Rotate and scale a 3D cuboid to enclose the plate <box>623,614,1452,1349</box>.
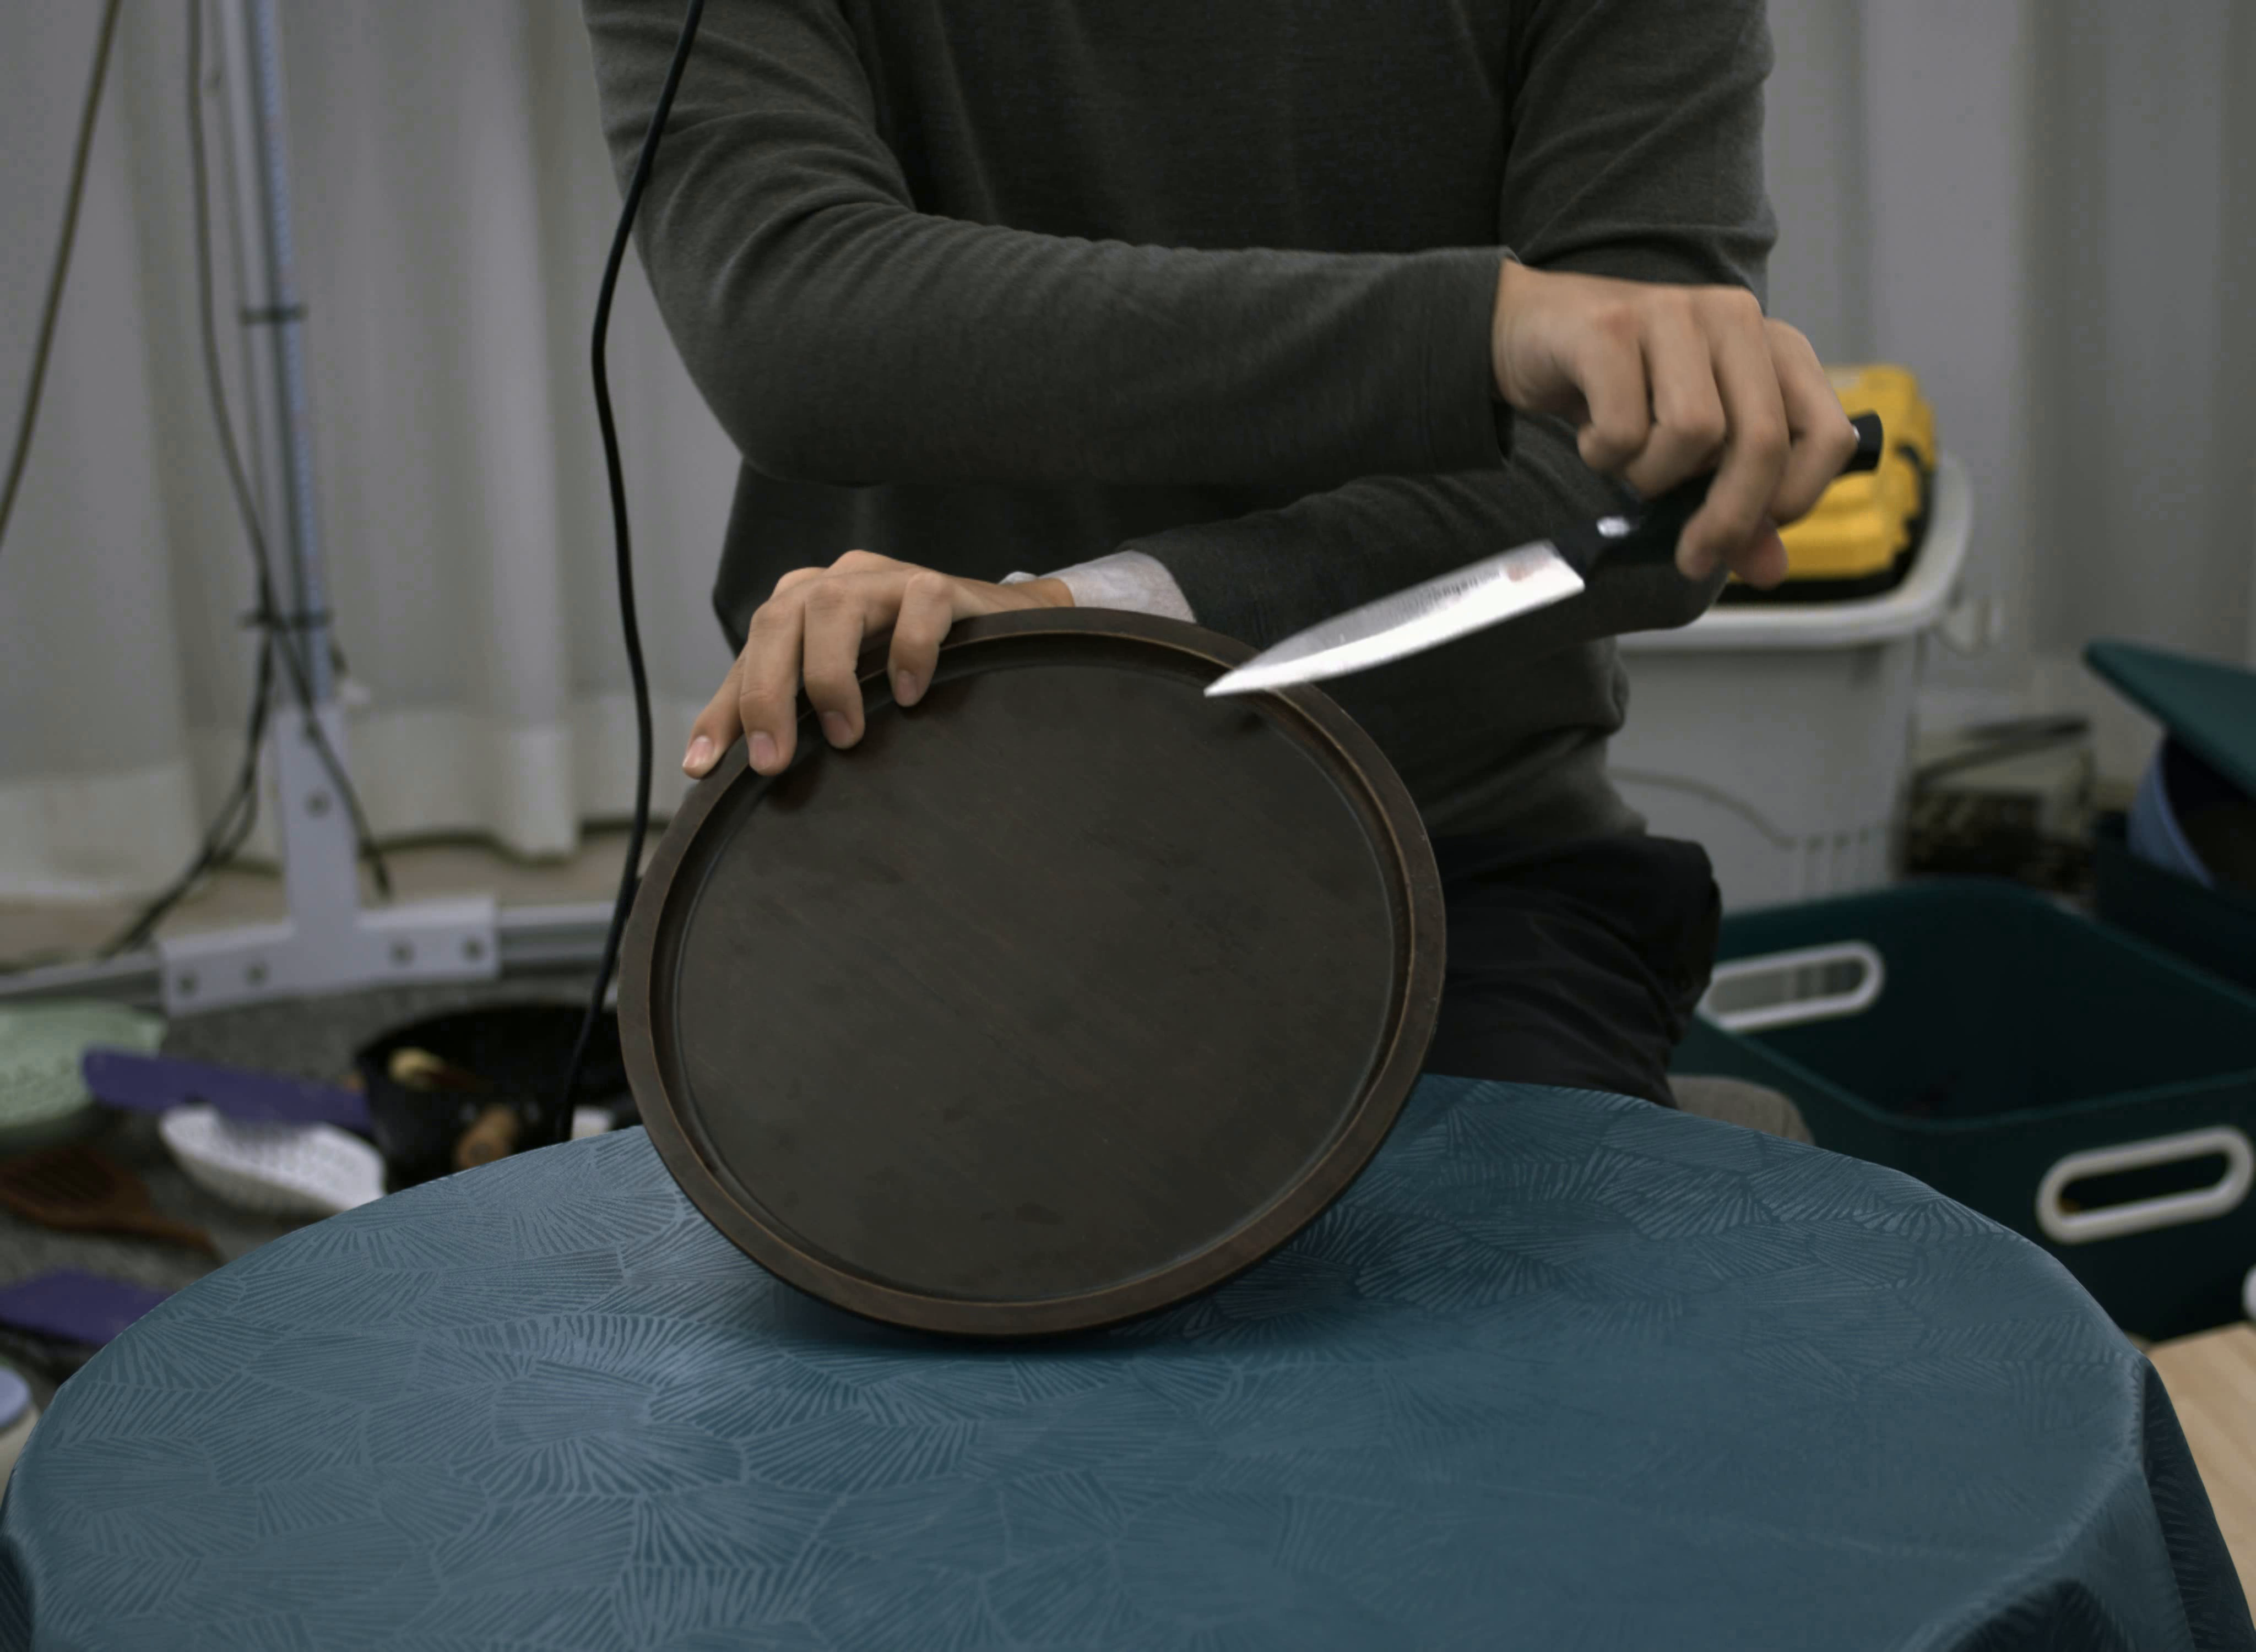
[{"bbox_3d":[-0.028,0.045,1.651,0.254,0.028,0.258,-4,57,6],"label":"plate"}]

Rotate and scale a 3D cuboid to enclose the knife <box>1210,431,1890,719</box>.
[{"bbox_3d":[0.131,-0.078,1.706,0.238,0.025,0.016,-21,-27,-15],"label":"knife"}]
